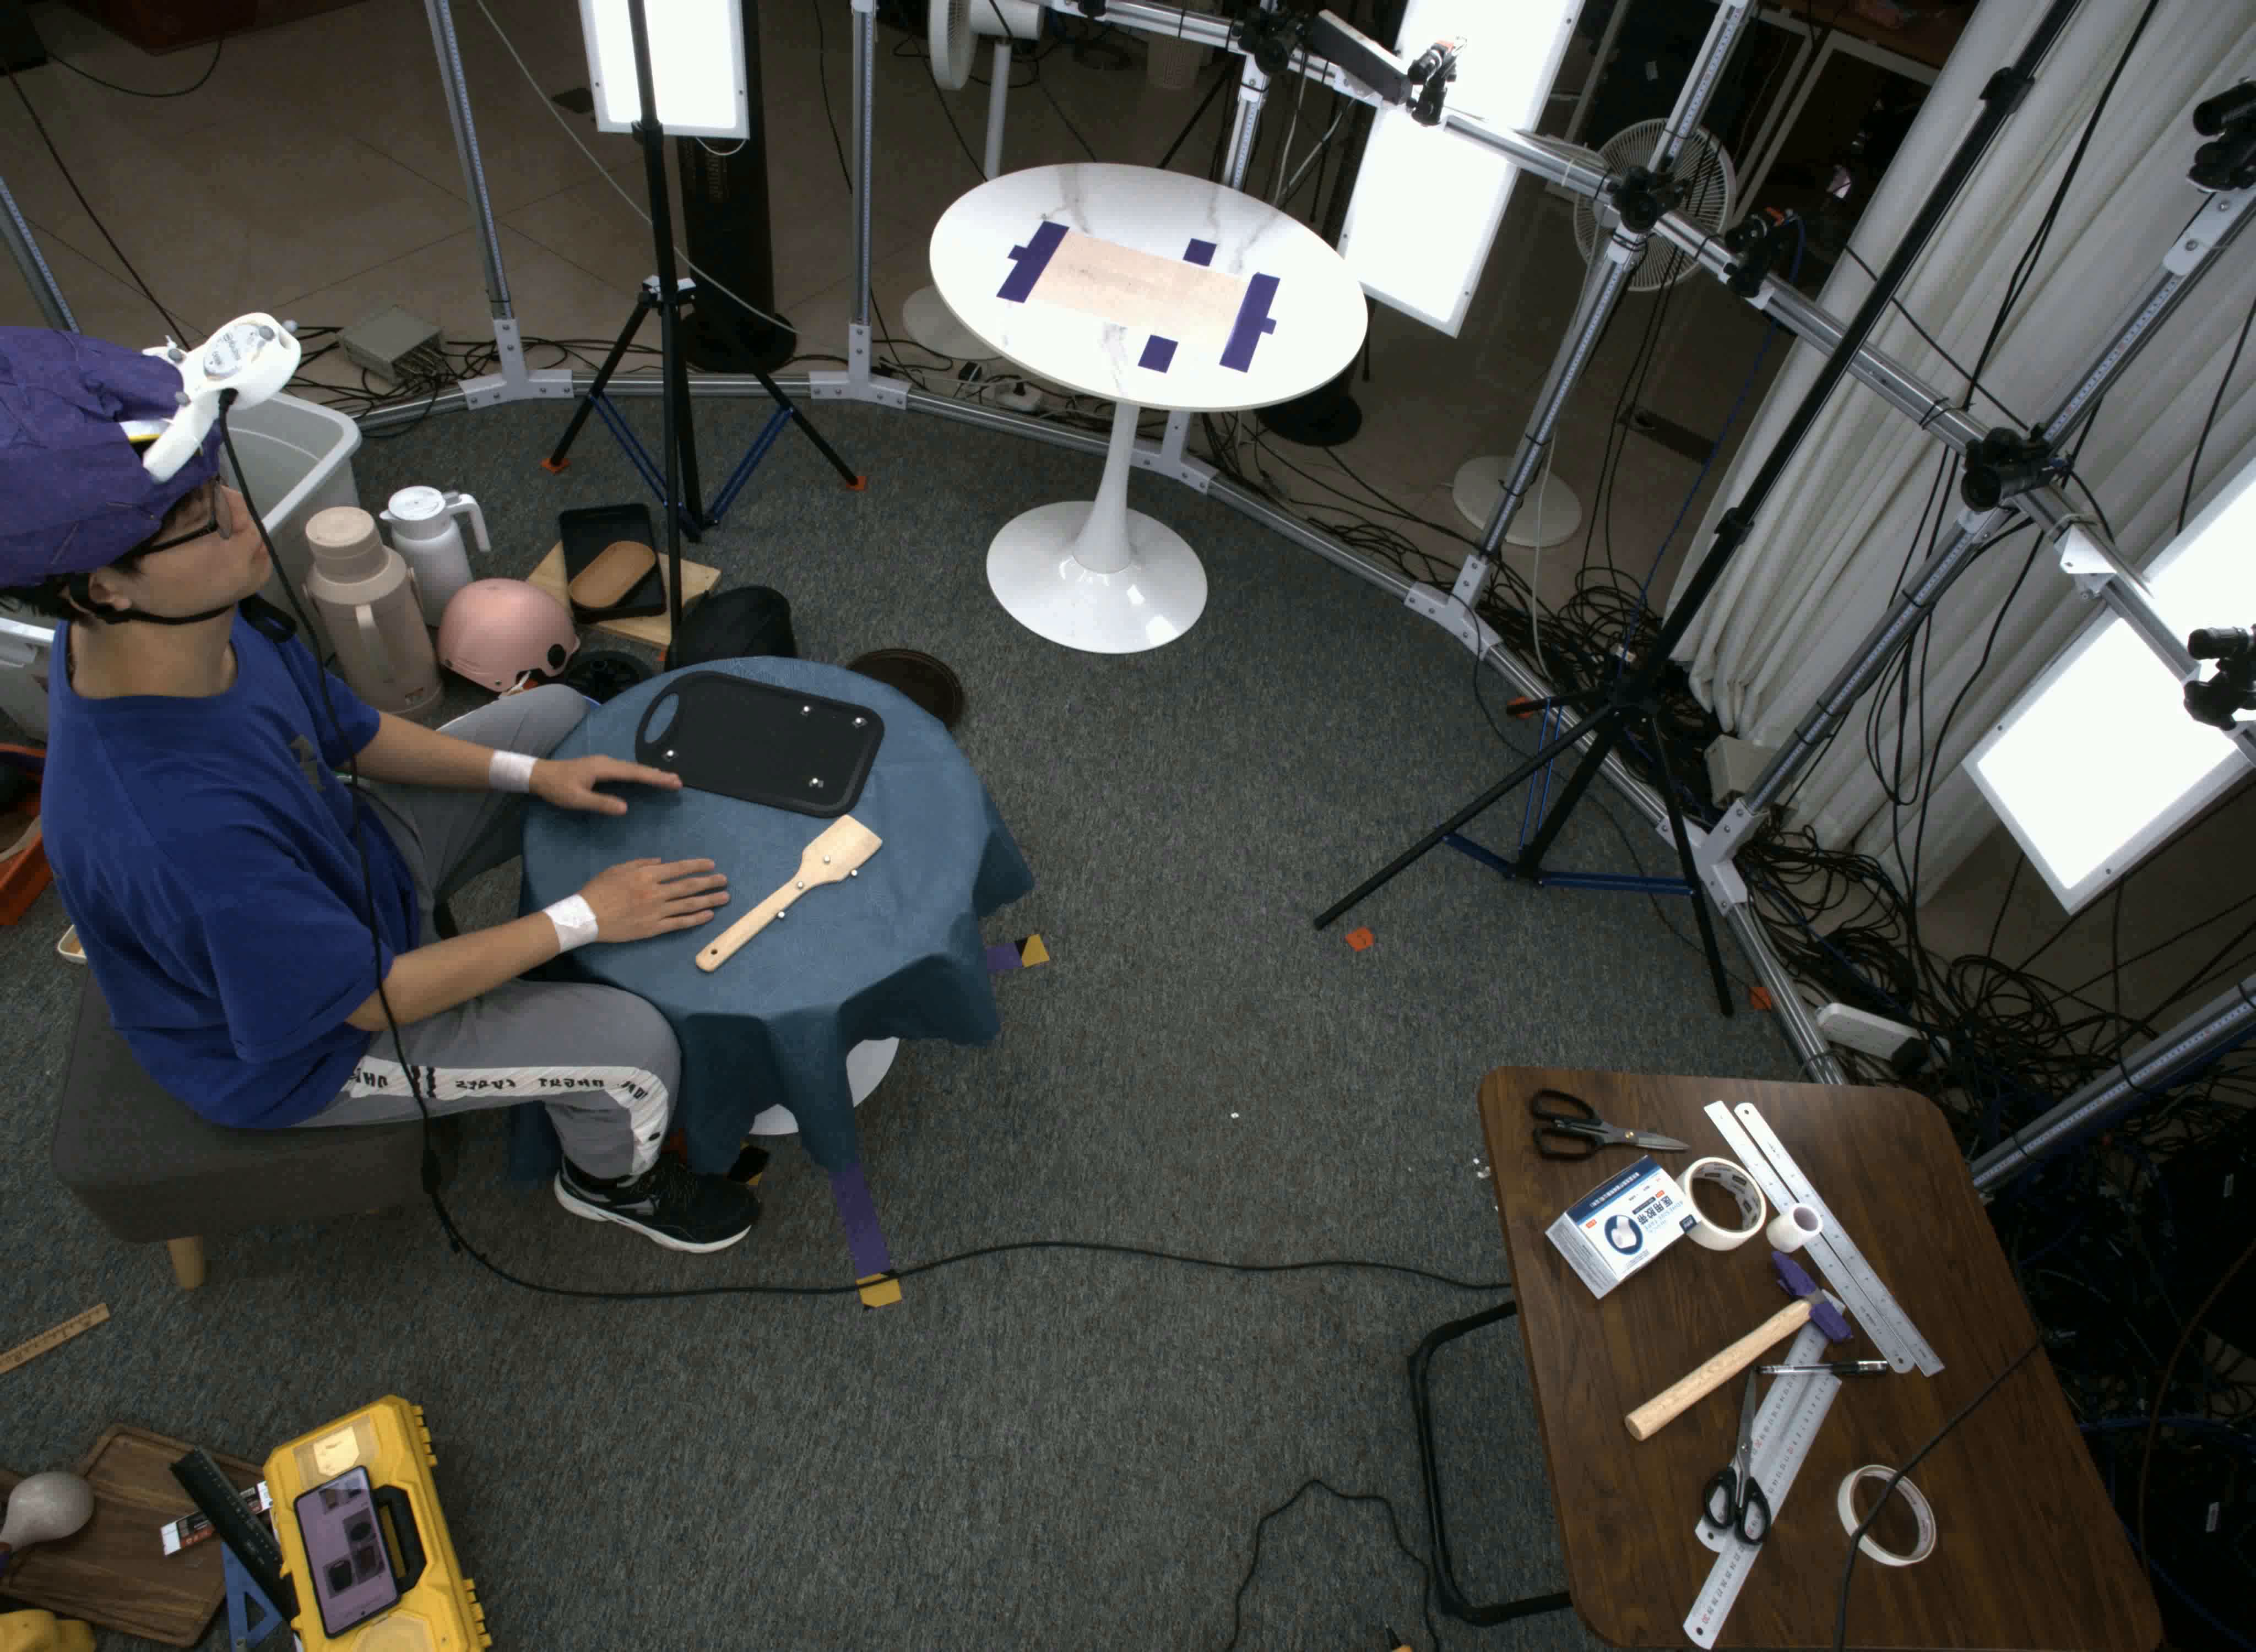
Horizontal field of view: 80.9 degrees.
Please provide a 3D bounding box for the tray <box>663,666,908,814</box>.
[{"bbox_3d":[-0.483,-0.126,1.808,0.323,0.010,0.208,15,52,-3],"label":"tray"}]

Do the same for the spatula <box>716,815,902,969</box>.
[{"bbox_3d":[-0.412,0.086,1.668,0.071,0.011,0.293,37,54,12],"label":"spatula"}]
